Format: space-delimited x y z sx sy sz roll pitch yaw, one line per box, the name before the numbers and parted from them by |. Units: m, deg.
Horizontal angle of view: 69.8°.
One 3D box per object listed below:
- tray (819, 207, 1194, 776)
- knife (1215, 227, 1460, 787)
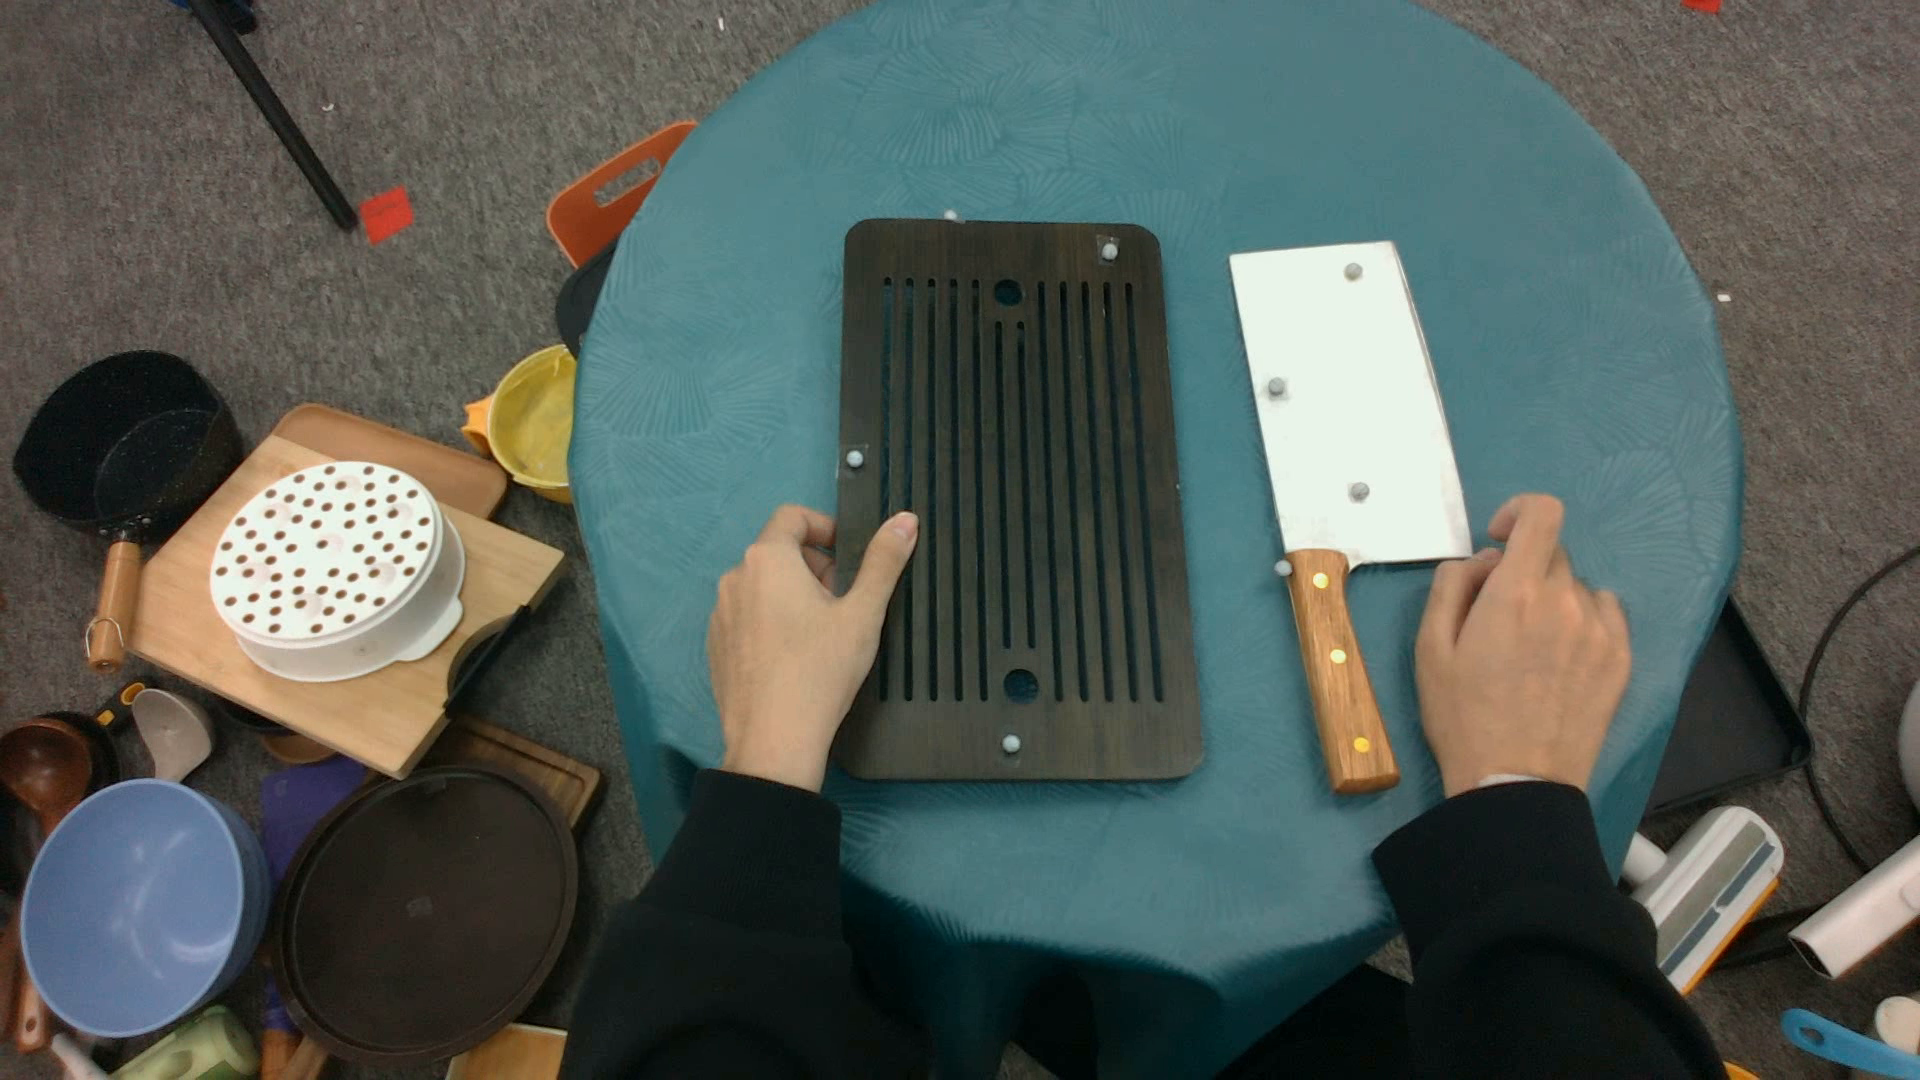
tray | 0.018 -0.034 0.680 0.170 0.018 0.307 0 66 -4
knife | 0.194 -0.031 0.680 0.093 0.021 0.307 -5 64 -1
